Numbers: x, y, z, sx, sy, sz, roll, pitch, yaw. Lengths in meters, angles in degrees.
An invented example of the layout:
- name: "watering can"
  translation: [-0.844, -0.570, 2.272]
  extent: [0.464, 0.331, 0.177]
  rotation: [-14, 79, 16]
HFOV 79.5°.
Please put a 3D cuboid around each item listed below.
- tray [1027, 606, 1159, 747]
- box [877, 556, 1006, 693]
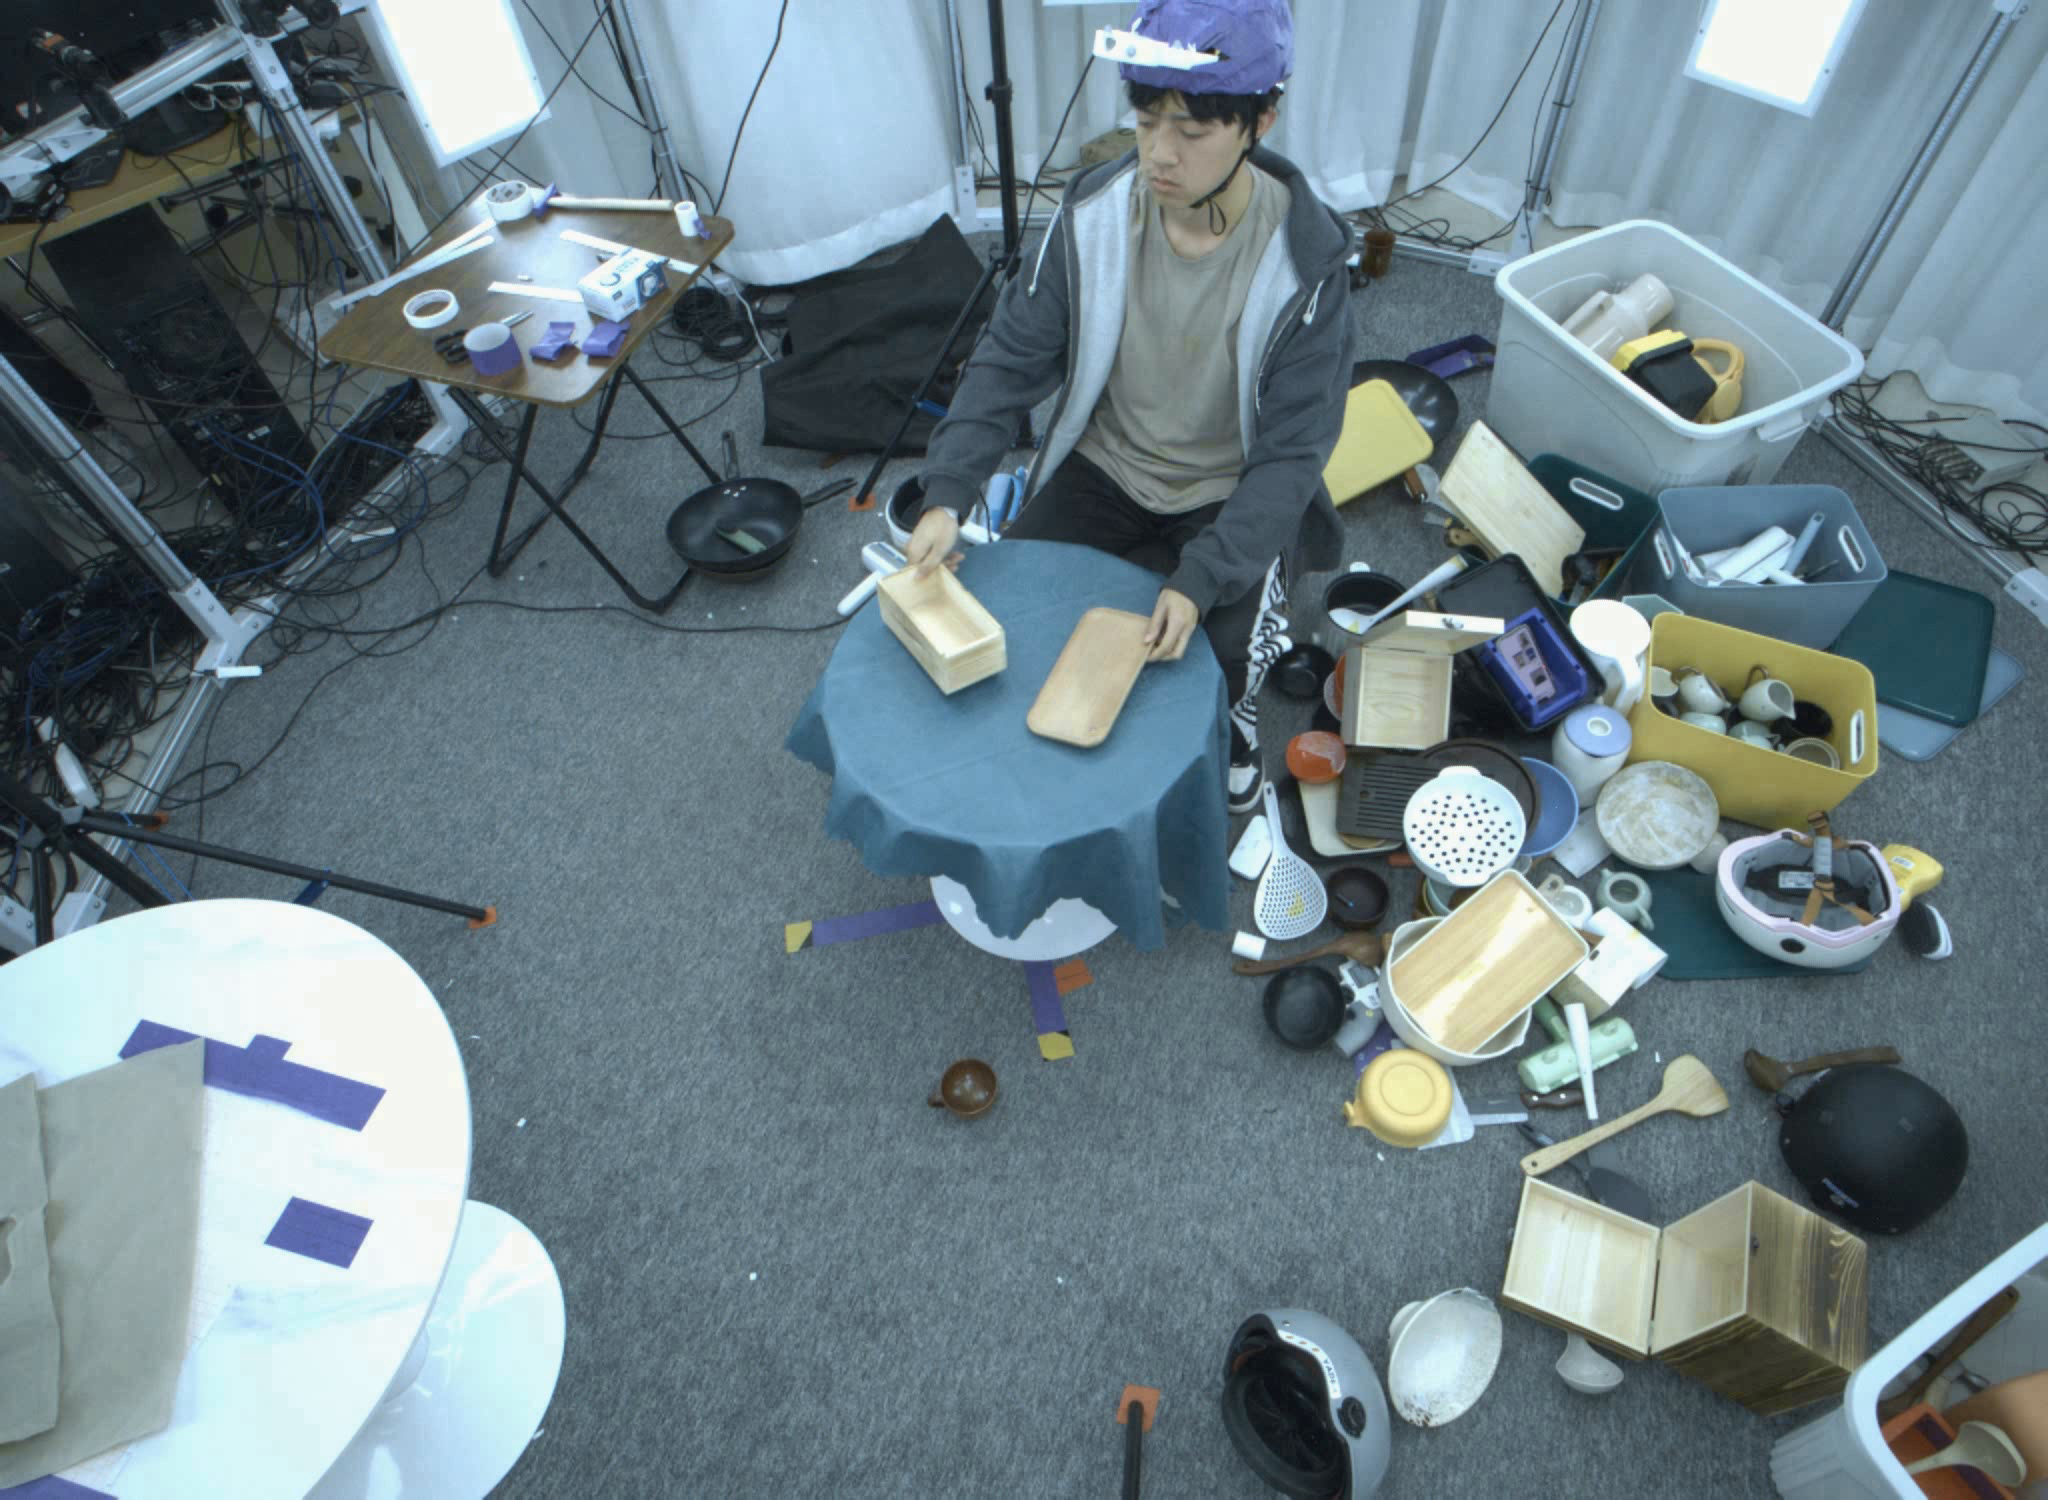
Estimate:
- name: "tray"
  translation: [0.105, -0.112, 1.838]
  extent: [0.128, 0.023, 0.251]
  rotation: [18, 61, 20]
- name: "box"
  translation: [-0.127, -0.194, 1.861]
  extent: [0.108, 0.081, 0.207]
  rotation: [-26, 52, -21]
